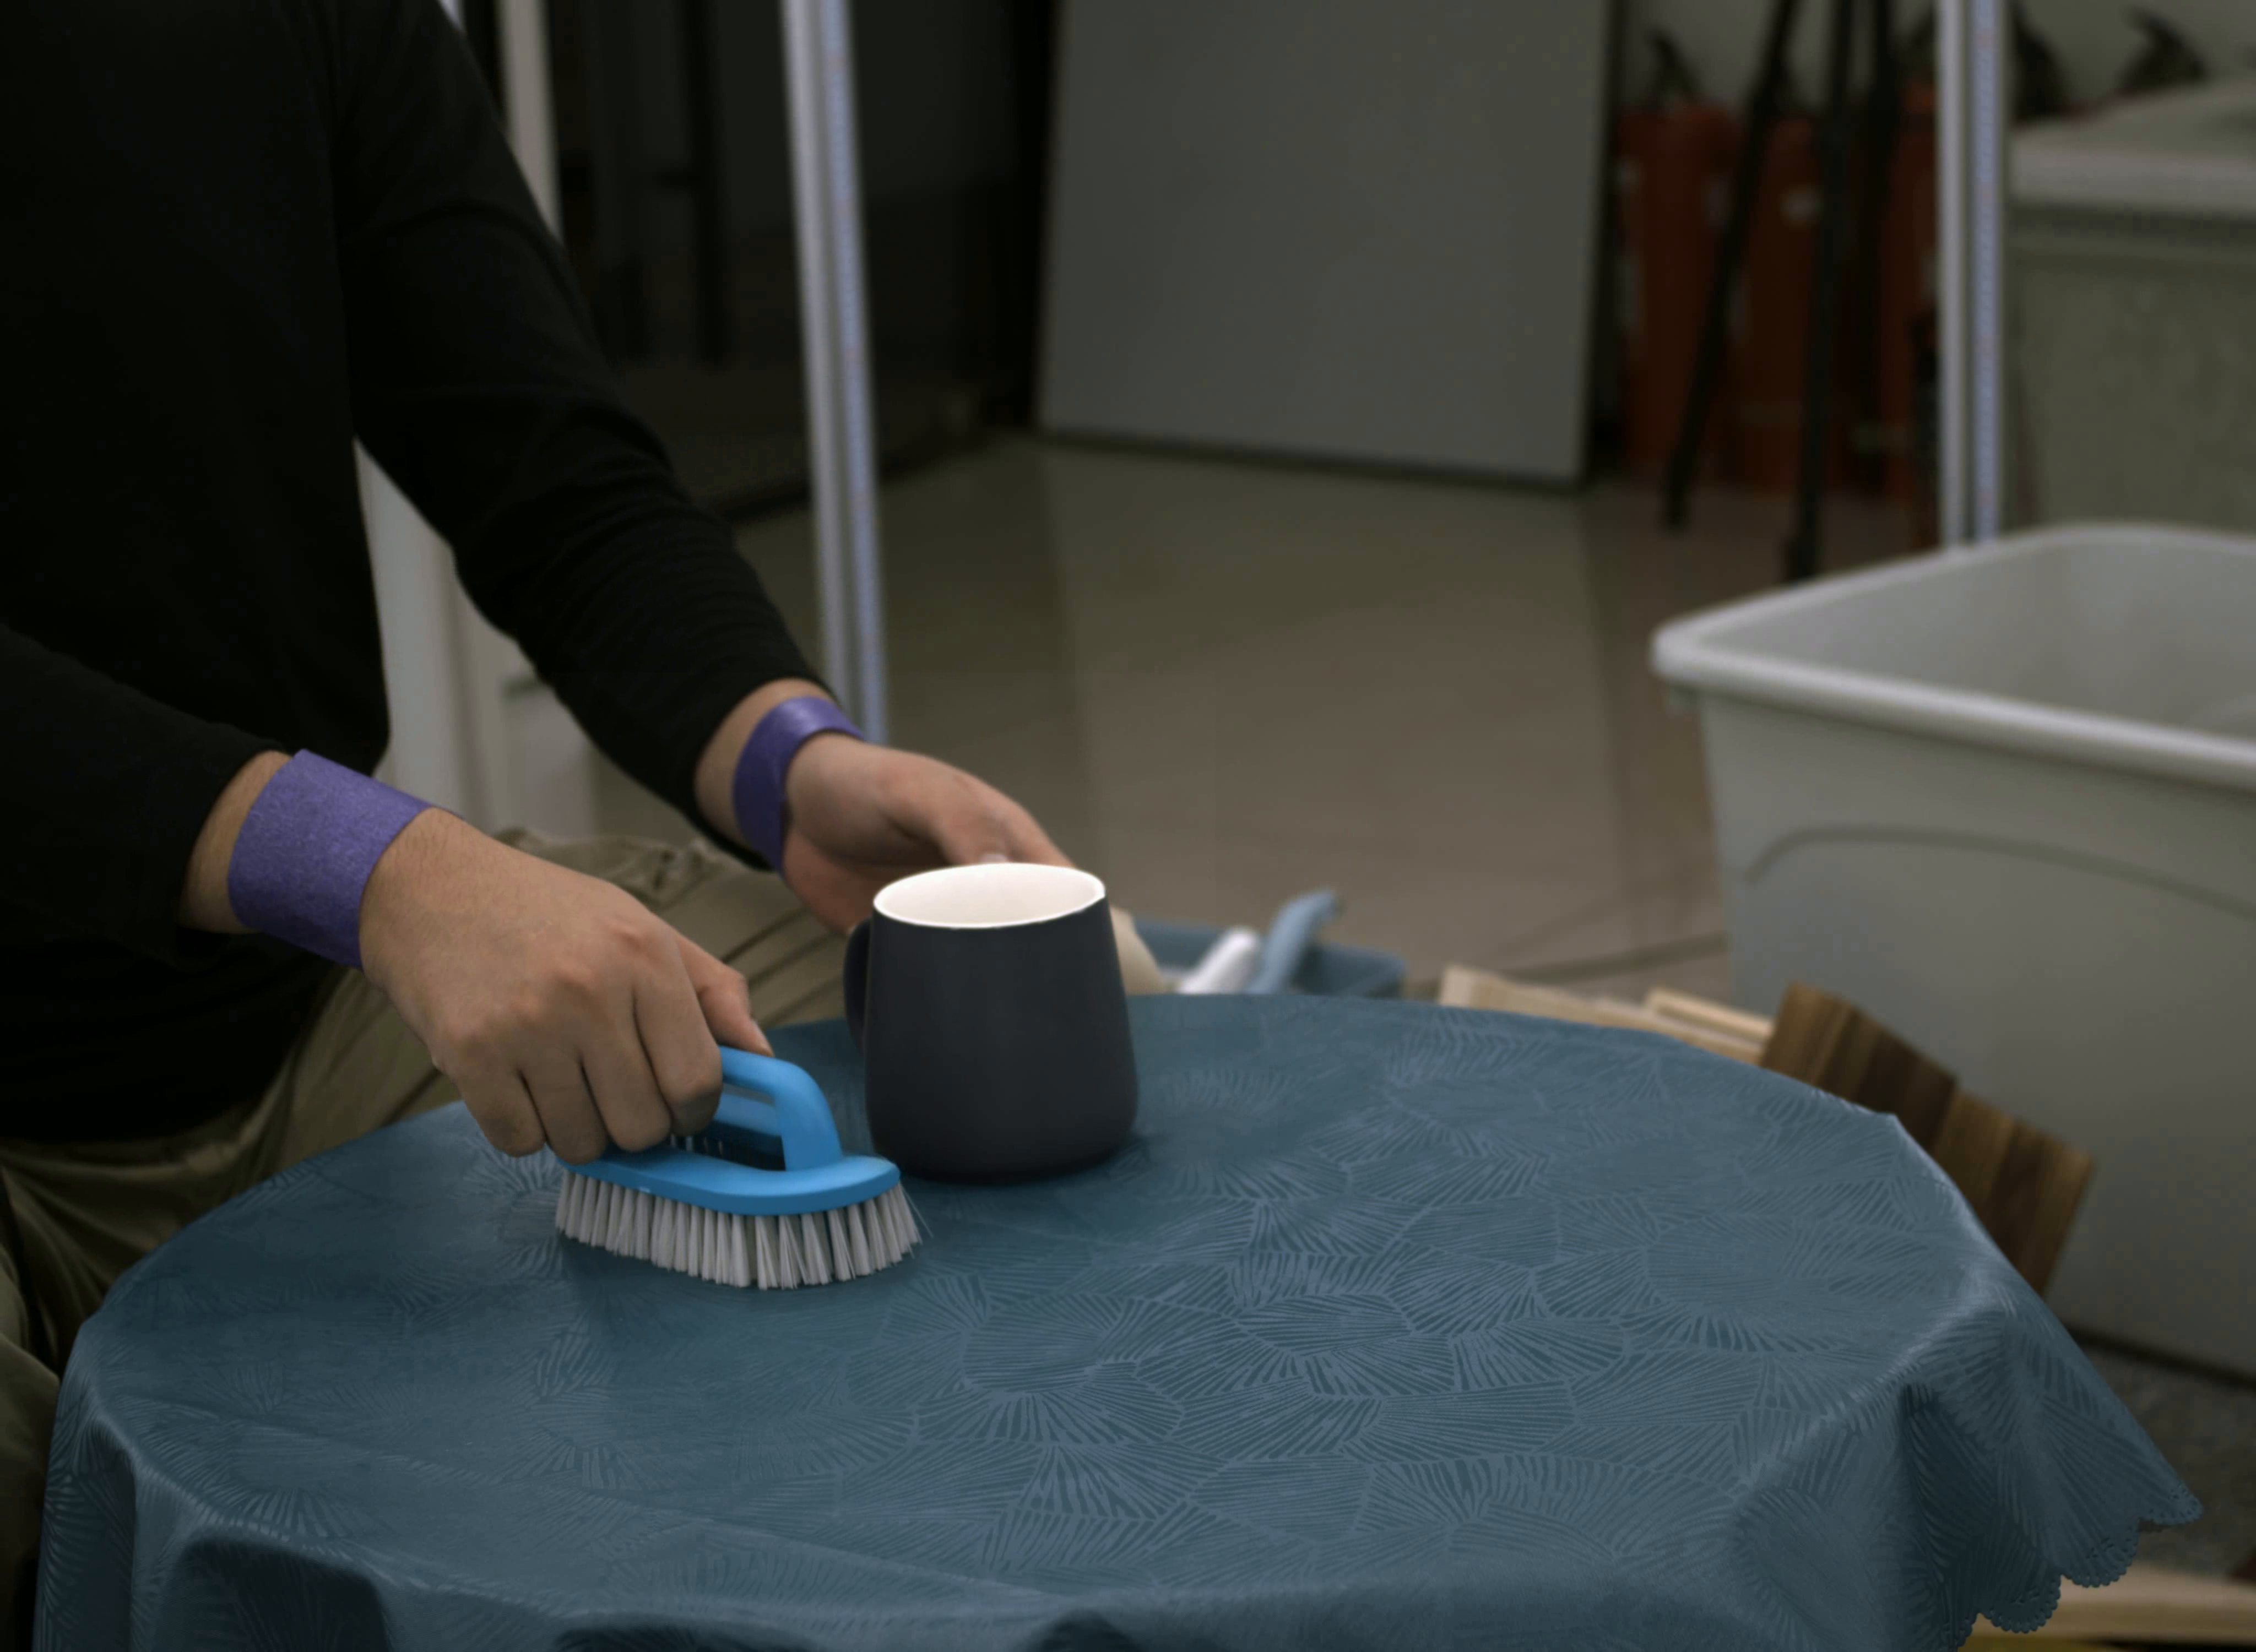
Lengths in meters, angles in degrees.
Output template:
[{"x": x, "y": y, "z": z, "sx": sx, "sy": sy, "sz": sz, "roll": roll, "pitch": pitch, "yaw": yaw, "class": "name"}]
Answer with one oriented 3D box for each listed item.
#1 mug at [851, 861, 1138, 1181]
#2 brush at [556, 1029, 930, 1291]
[{"x": -0.053, "y": 0.062, "z": 1.824, "sx": 0.091, "sy": 0.091, "sz": 0.124, "roll": -13, "pitch": 18, "yaw": -36, "class": "mug"}, {"x": -0.128, "y": 0.101, "z": 1.748, "sx": 0.082, "sy": 0.064, "sz": 0.143, "roll": -21, "pitch": 20, "yaw": -39, "class": "brush"}]
